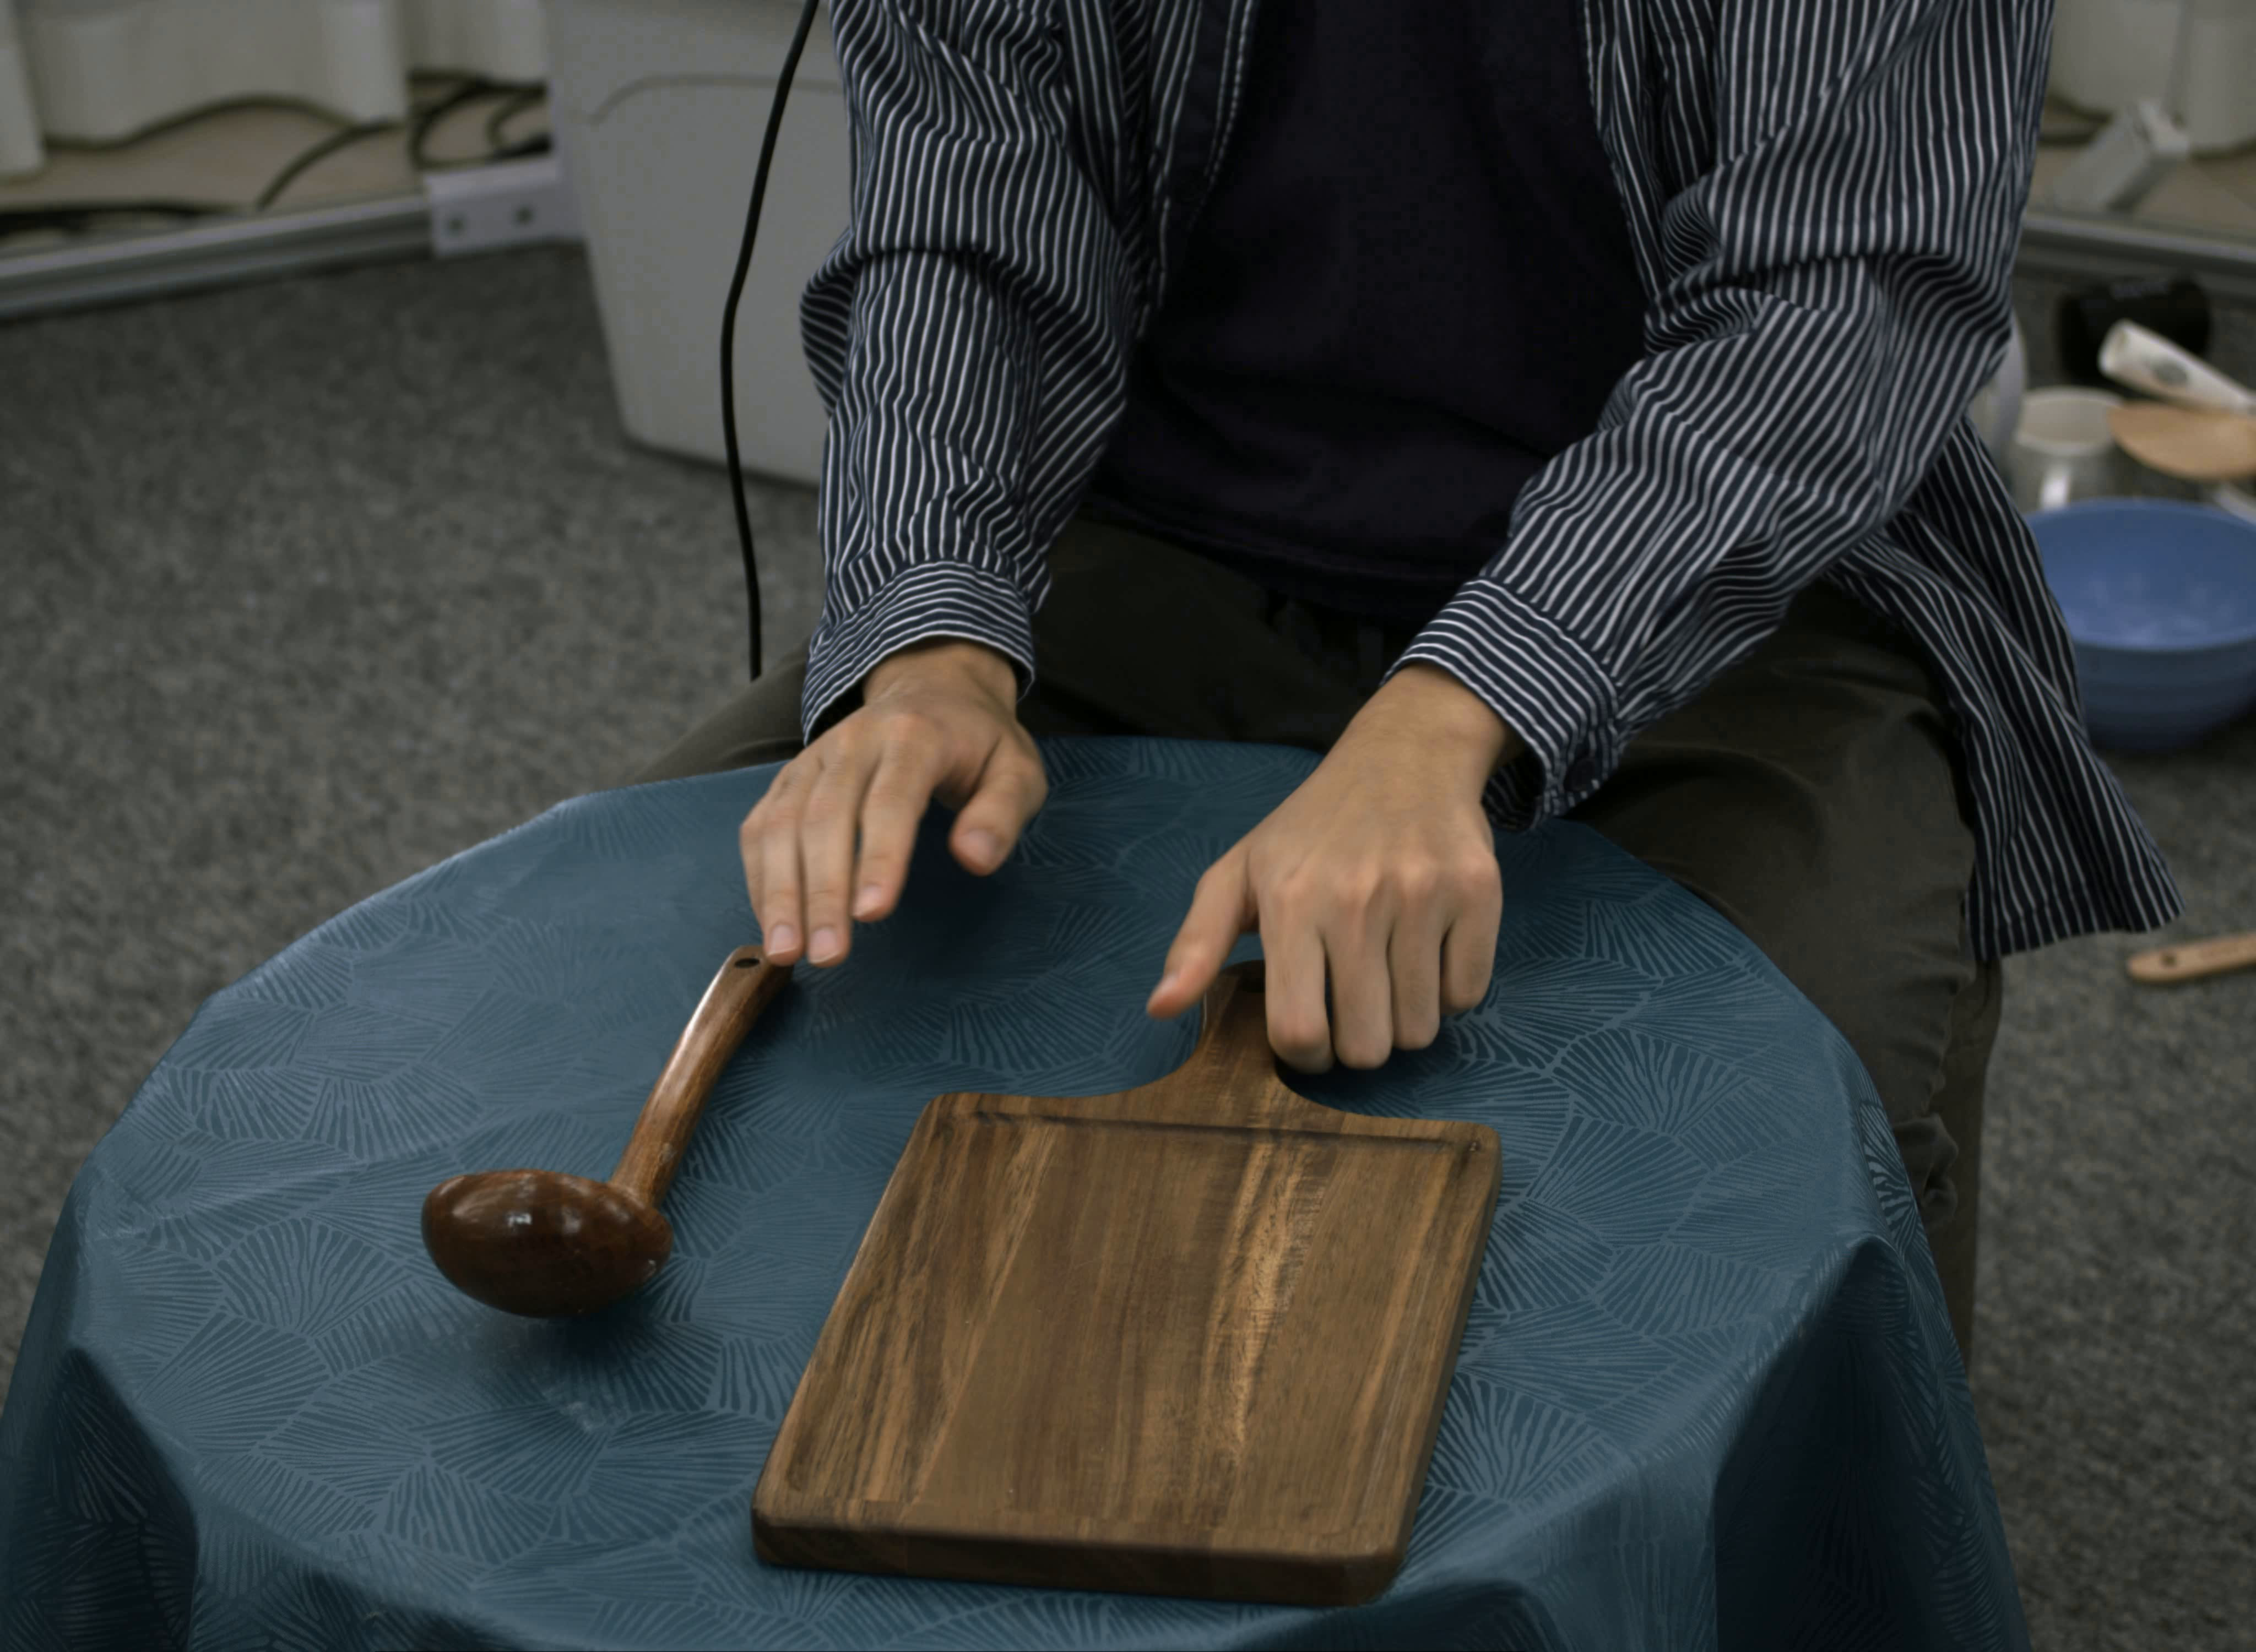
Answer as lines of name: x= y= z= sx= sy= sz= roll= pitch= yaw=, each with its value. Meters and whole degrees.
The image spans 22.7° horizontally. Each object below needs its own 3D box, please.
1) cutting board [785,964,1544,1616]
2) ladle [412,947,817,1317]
cutting board: x=0.027 y=0.138 z=1.799 sx=0.200 sy=0.023 sz=0.358 roll=3 pitch=28 yaw=12
ladle: x=-0.160 y=0.082 z=1.867 sx=0.081 sy=0.076 sz=0.279 roll=4 pitch=28 yaw=14
